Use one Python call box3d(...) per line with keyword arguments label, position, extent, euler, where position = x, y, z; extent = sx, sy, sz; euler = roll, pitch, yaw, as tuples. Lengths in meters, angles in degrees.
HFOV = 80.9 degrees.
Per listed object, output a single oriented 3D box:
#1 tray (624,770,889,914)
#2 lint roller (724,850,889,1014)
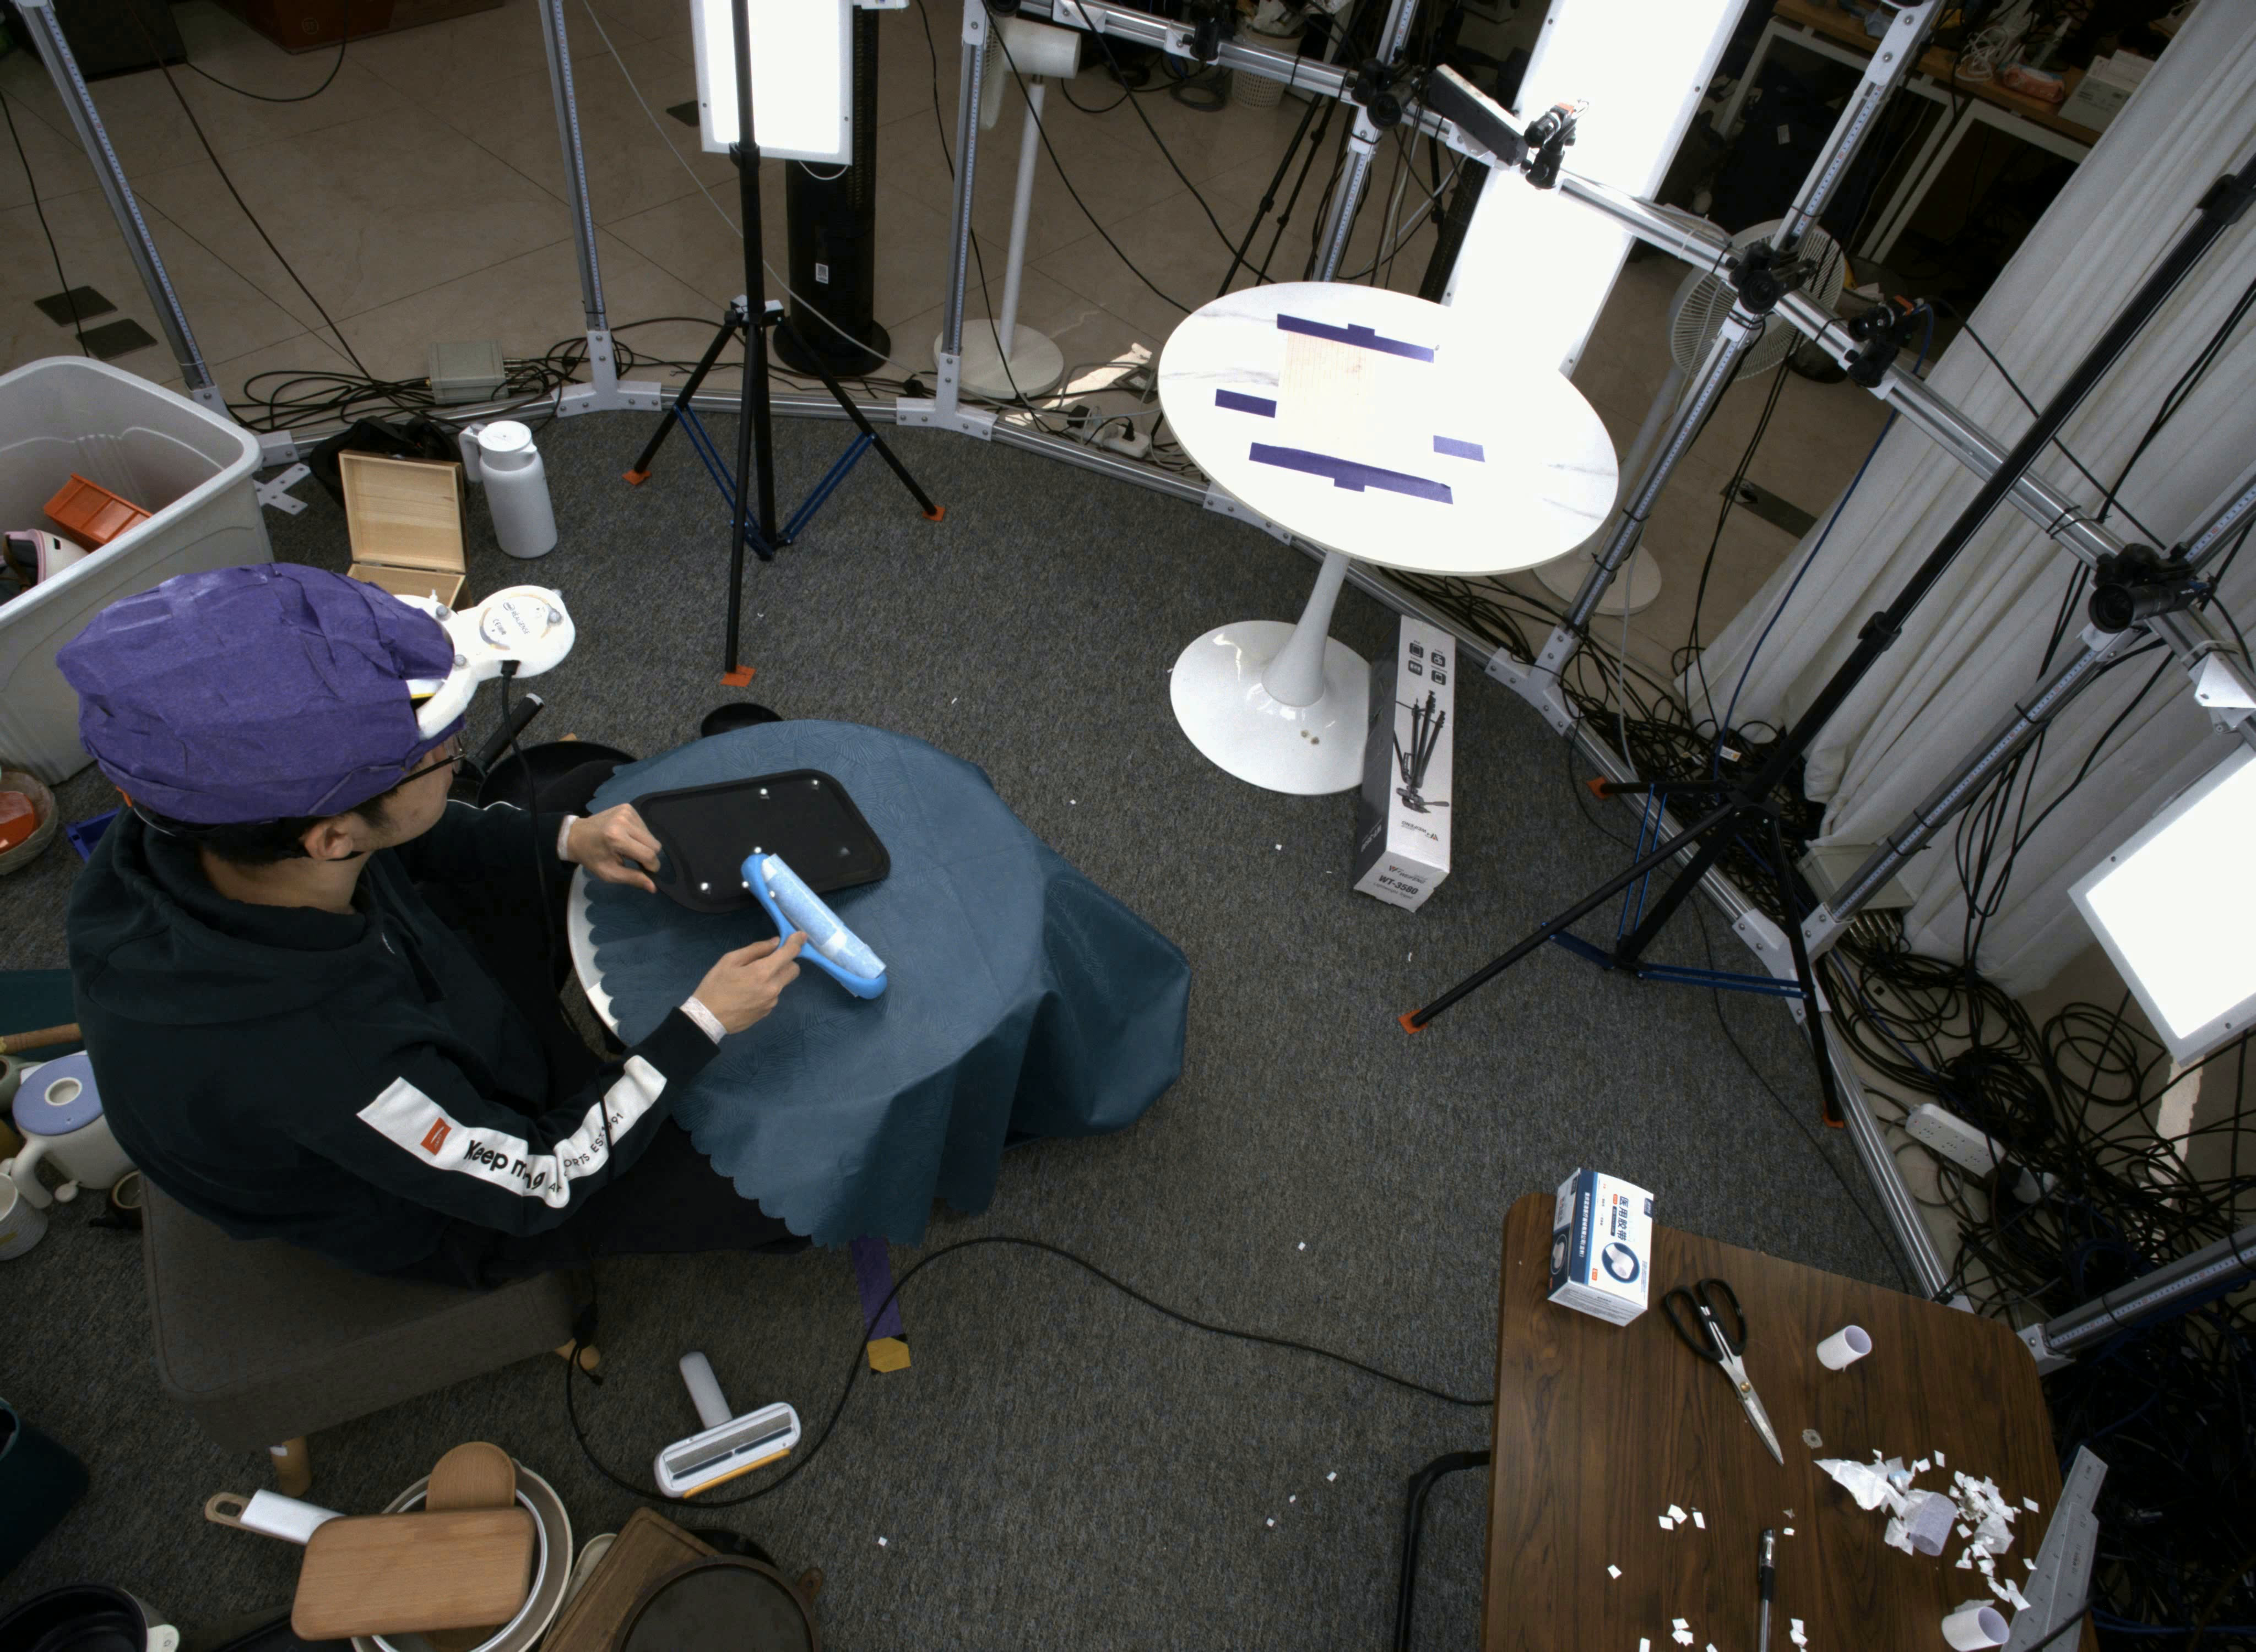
box3d(label="tray", position=(-0.472, 0.013, 1.639), extent=(0.330, 0.010, 0.206), euler=(-12, 55, -44))
box3d(label="lint roller", position=(-0.403, 0.149, 1.530), extent=(0.232, 0.067, 0.179), euler=(46, 43, -11))
